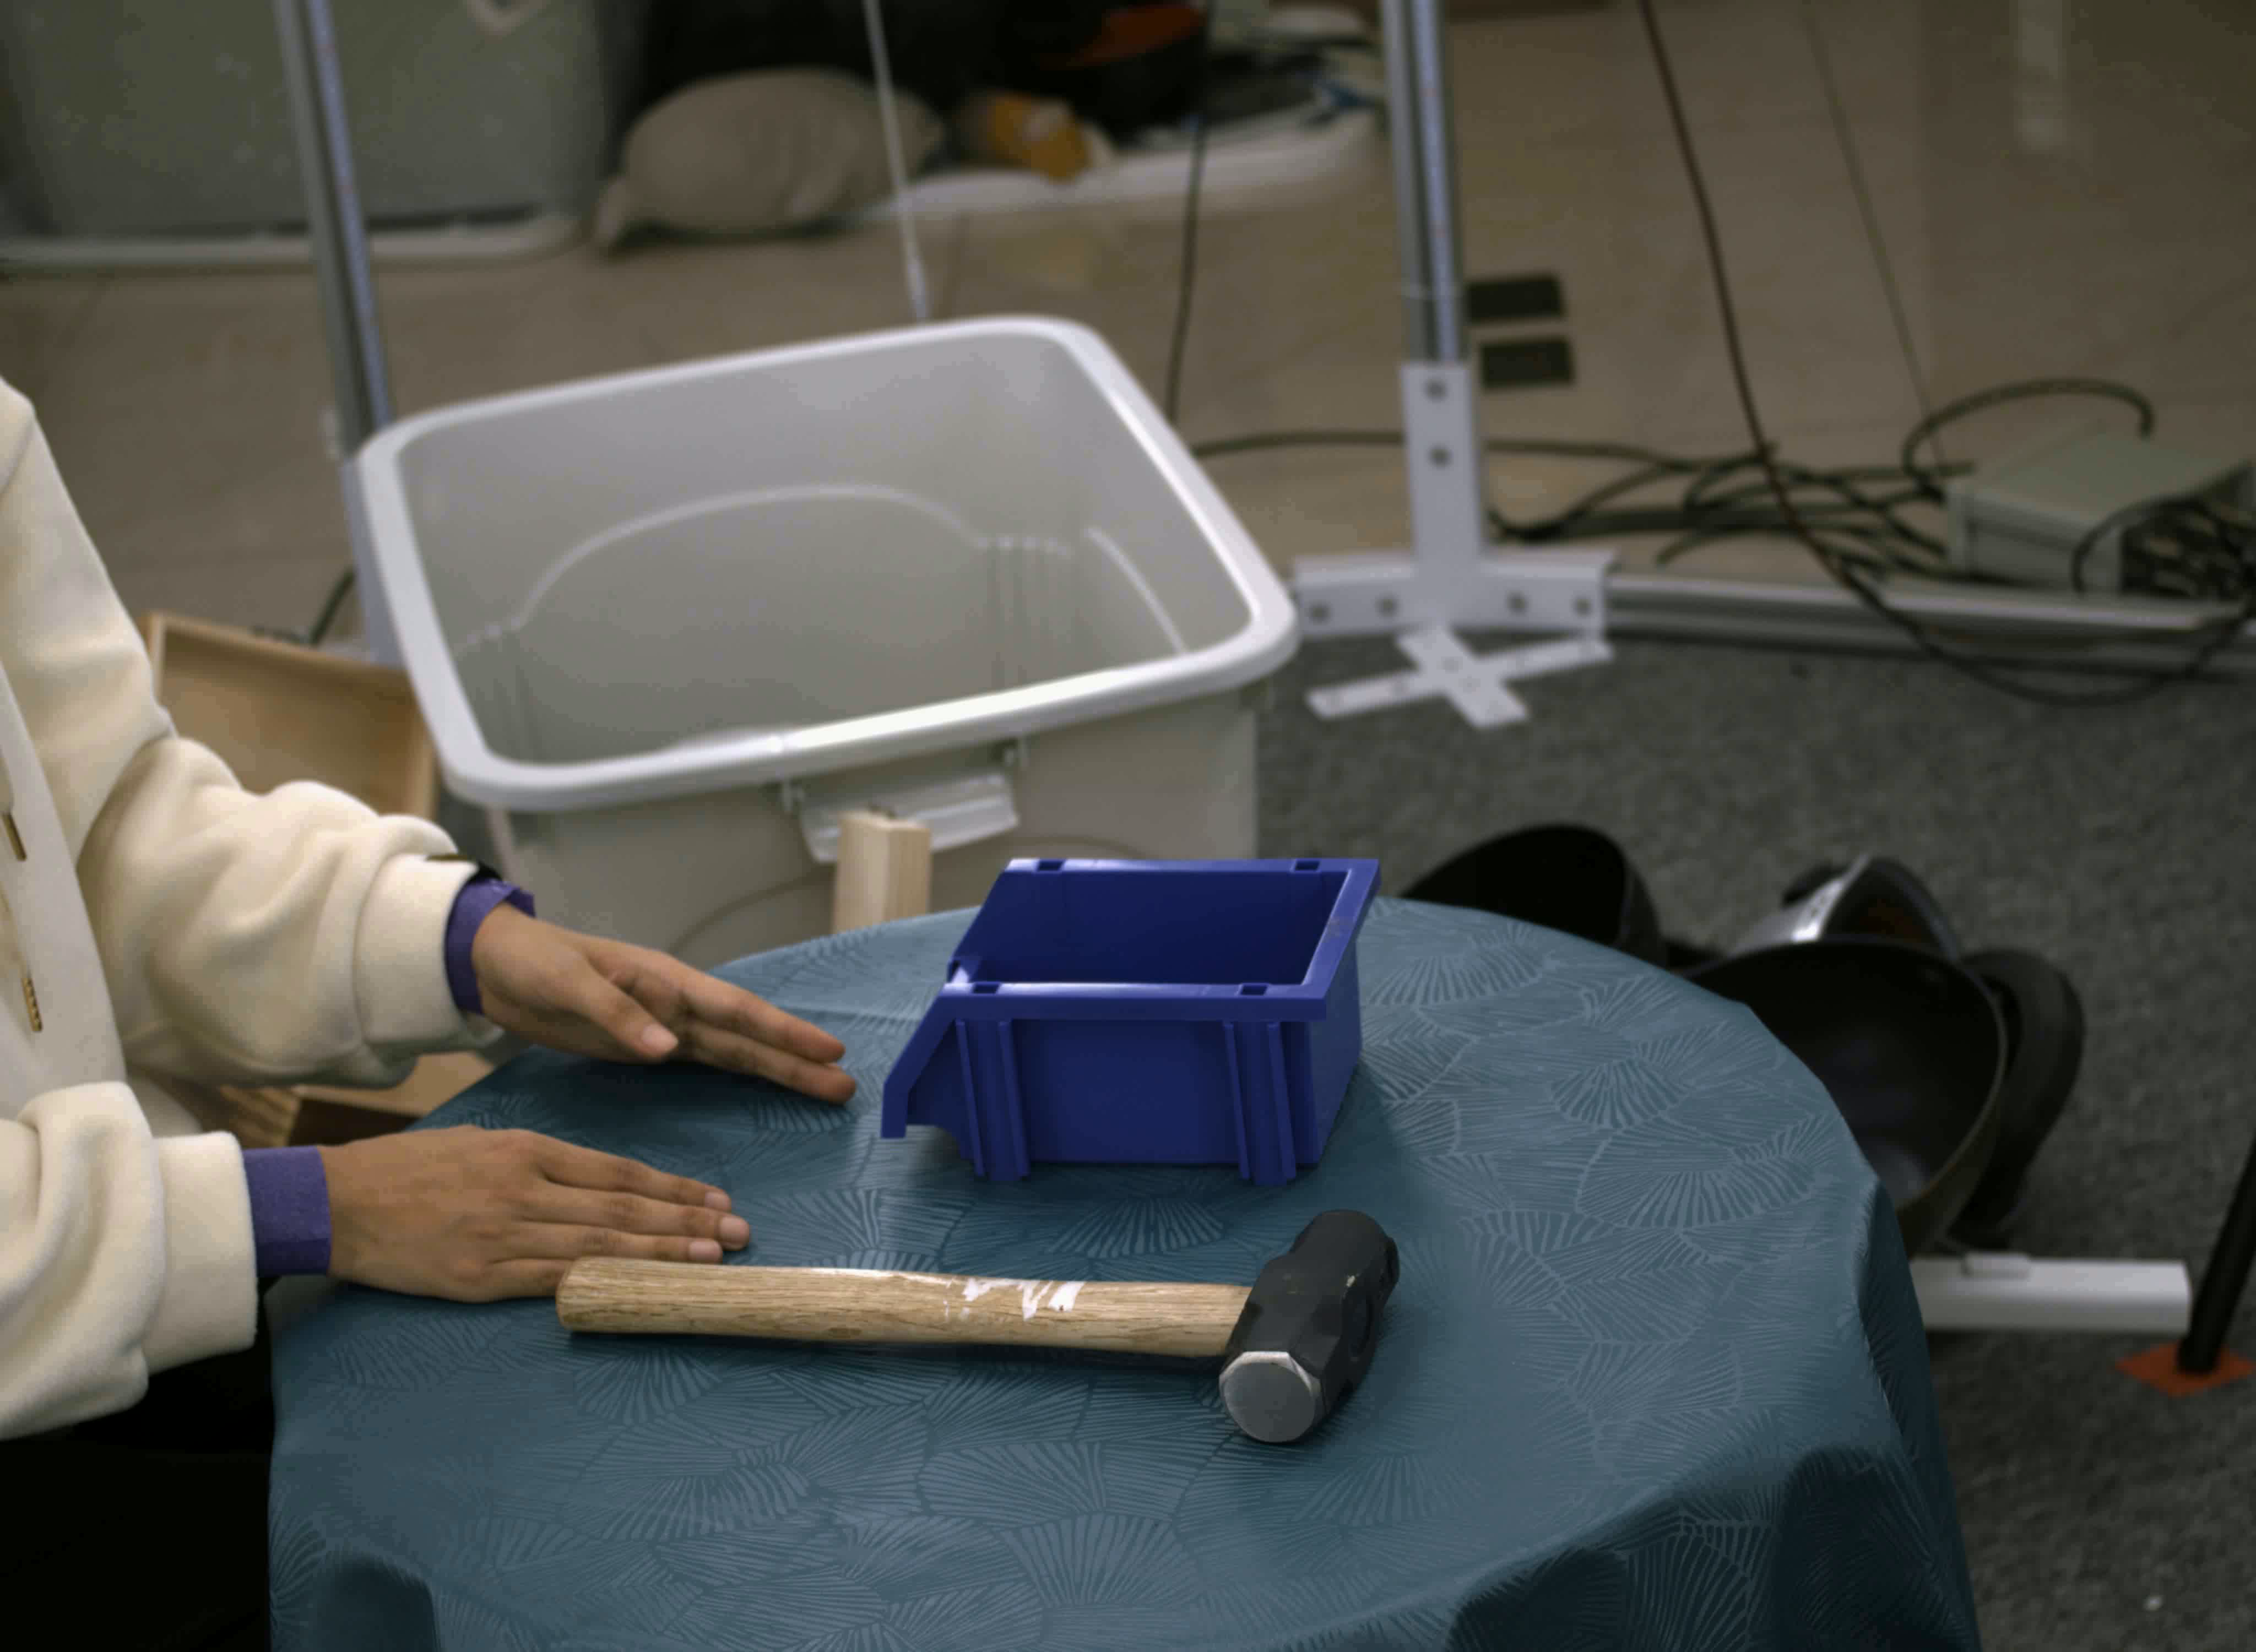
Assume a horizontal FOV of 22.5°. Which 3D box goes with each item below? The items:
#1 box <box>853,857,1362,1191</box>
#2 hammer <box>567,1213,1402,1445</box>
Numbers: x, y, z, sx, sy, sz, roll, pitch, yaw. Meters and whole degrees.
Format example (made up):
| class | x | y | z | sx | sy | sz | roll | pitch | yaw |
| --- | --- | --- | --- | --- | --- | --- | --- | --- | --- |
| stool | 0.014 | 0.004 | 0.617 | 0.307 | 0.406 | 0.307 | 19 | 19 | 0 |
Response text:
| class | x | y | z | sx | sy | sz | roll | pitch | yaw |
| --- | --- | --- | --- | --- | --- | --- | --- | --- | --- |
| box | -0.007 | 0.075 | 2.190 | 0.179 | 0.083 | 0.123 | 3 | 27 | 13 |
| hammer | -0.060 | 0.173 | 2.051 | 0.304 | 0.039 | 0.106 | 2 | 26 | 21 |
